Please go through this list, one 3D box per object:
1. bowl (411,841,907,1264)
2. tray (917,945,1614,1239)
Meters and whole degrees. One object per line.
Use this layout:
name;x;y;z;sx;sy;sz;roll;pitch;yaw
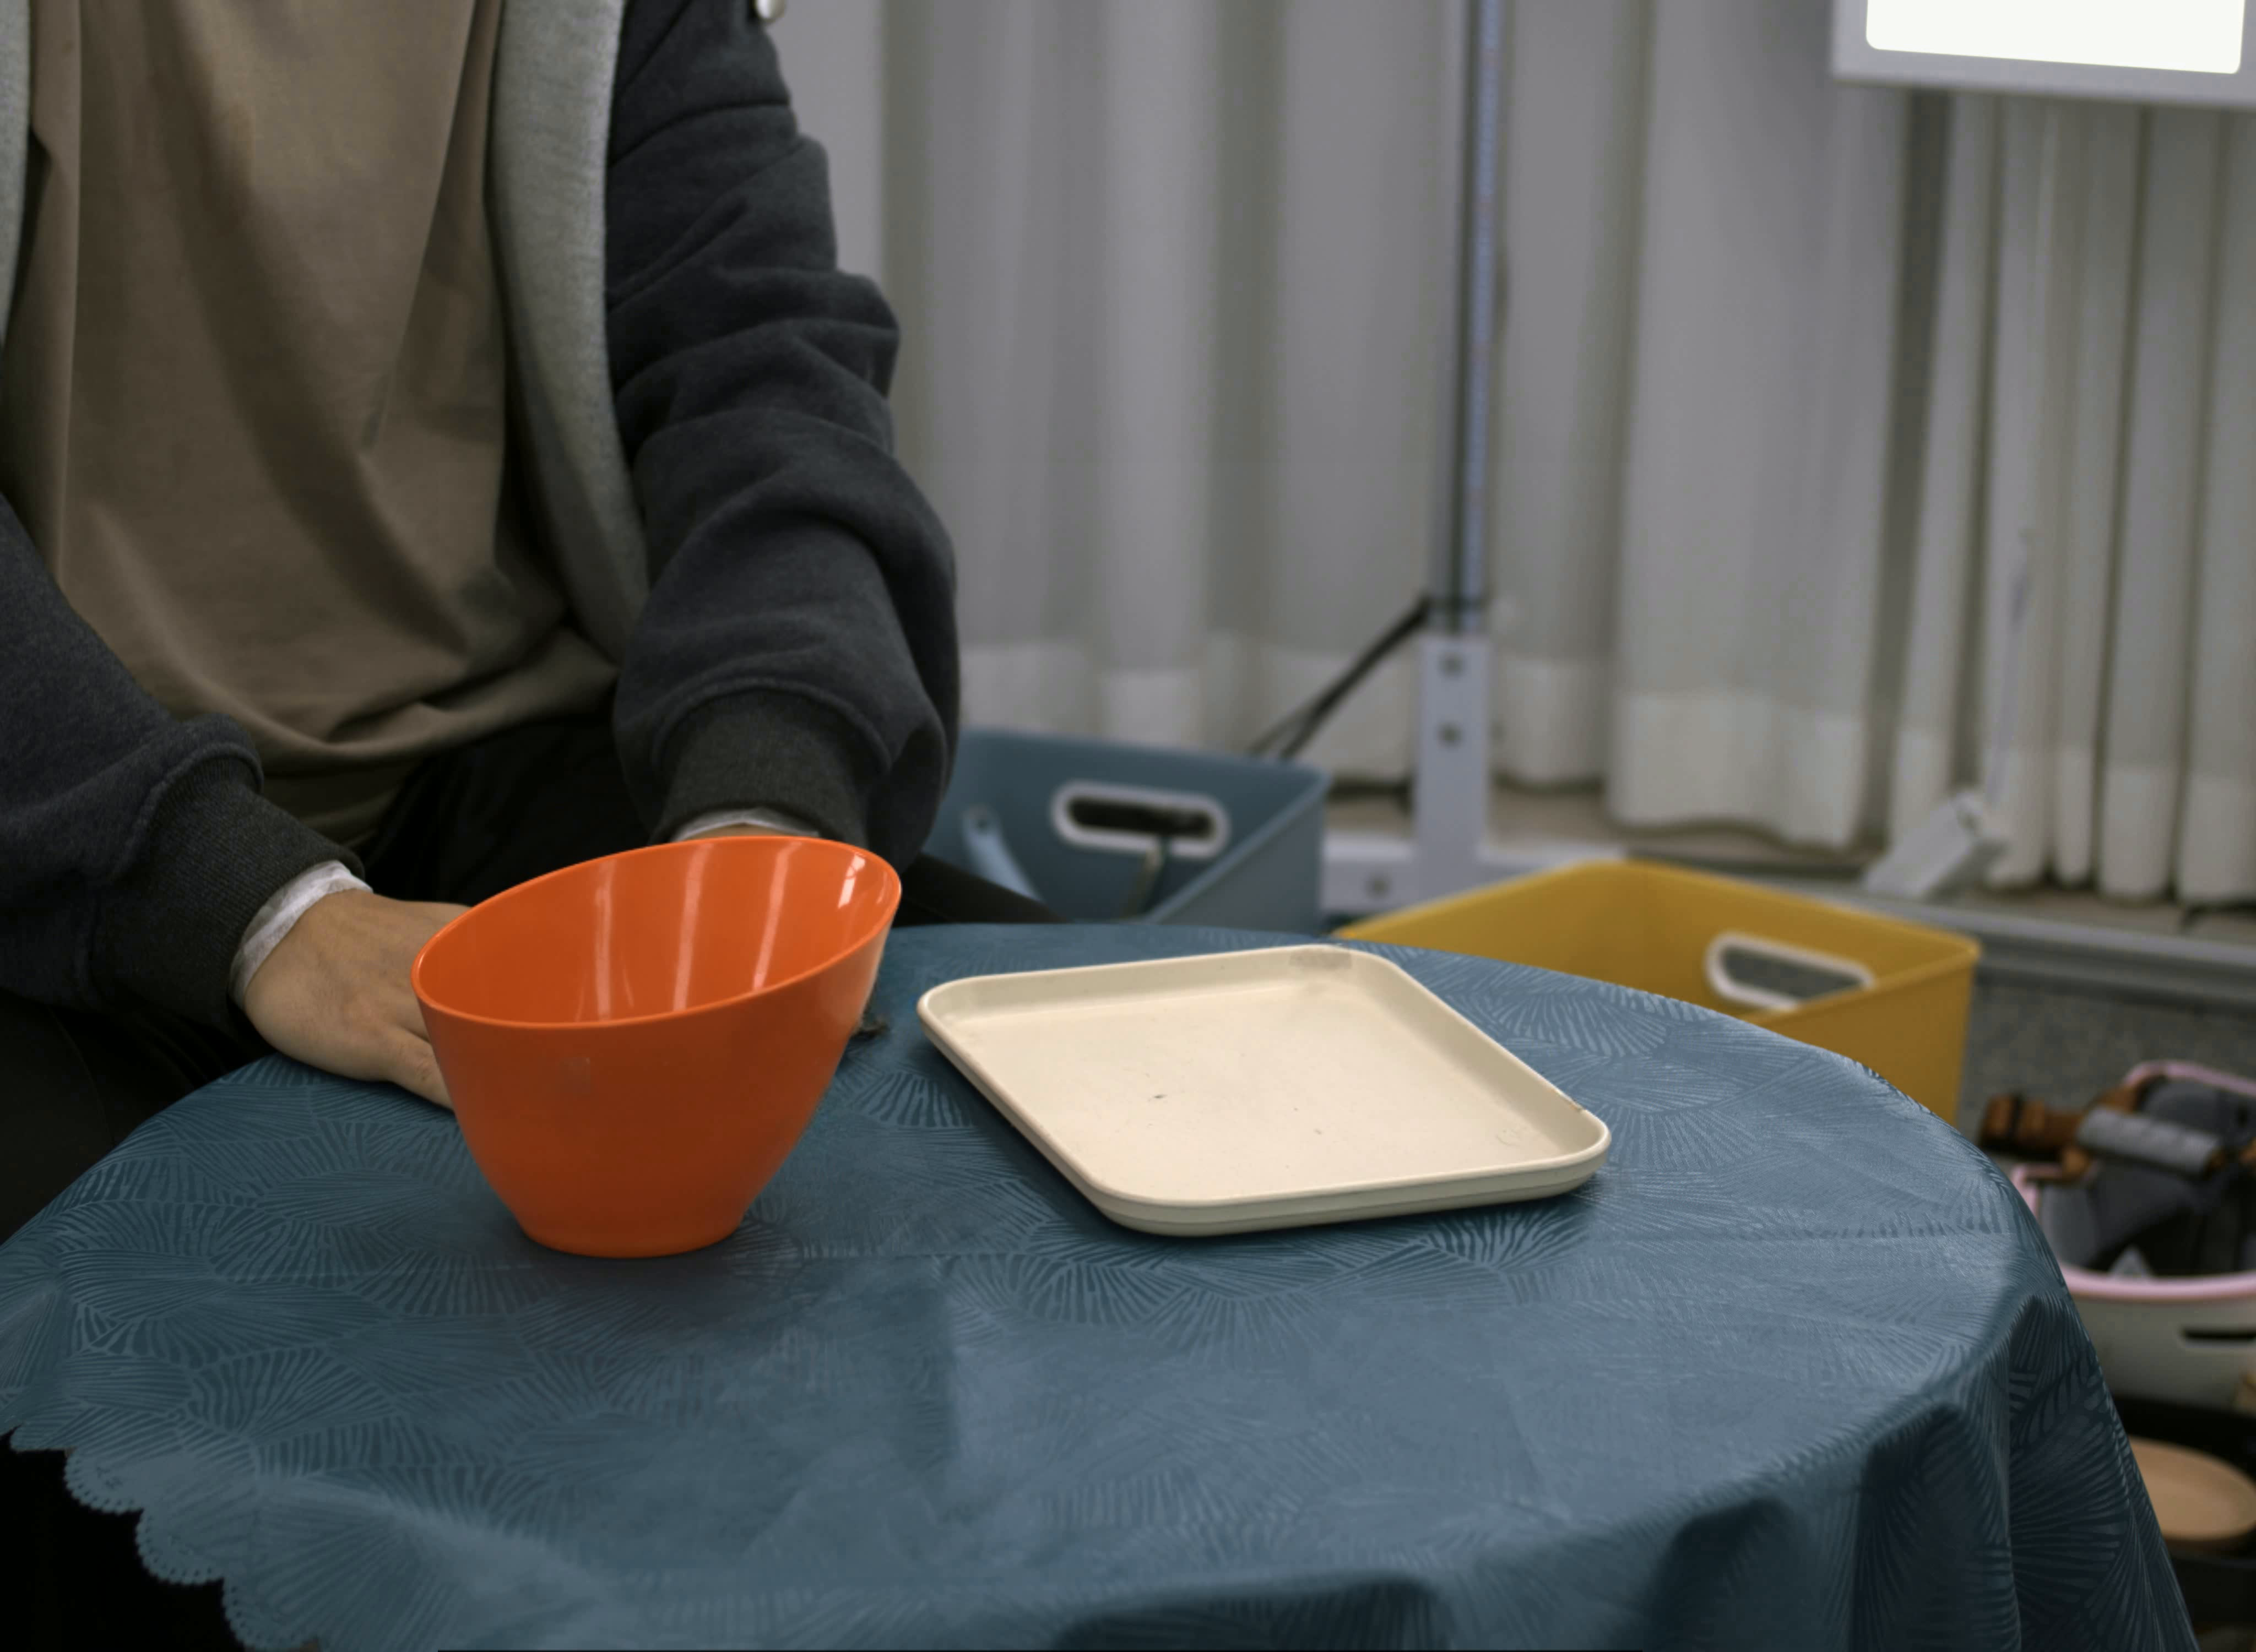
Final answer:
bowl;-0.140;0.070;1.580;0.147;0.105;0.147;2;17;0
tray;0.040;0.084;1.693;0.171;0.017;0.237;-6;17;-19
